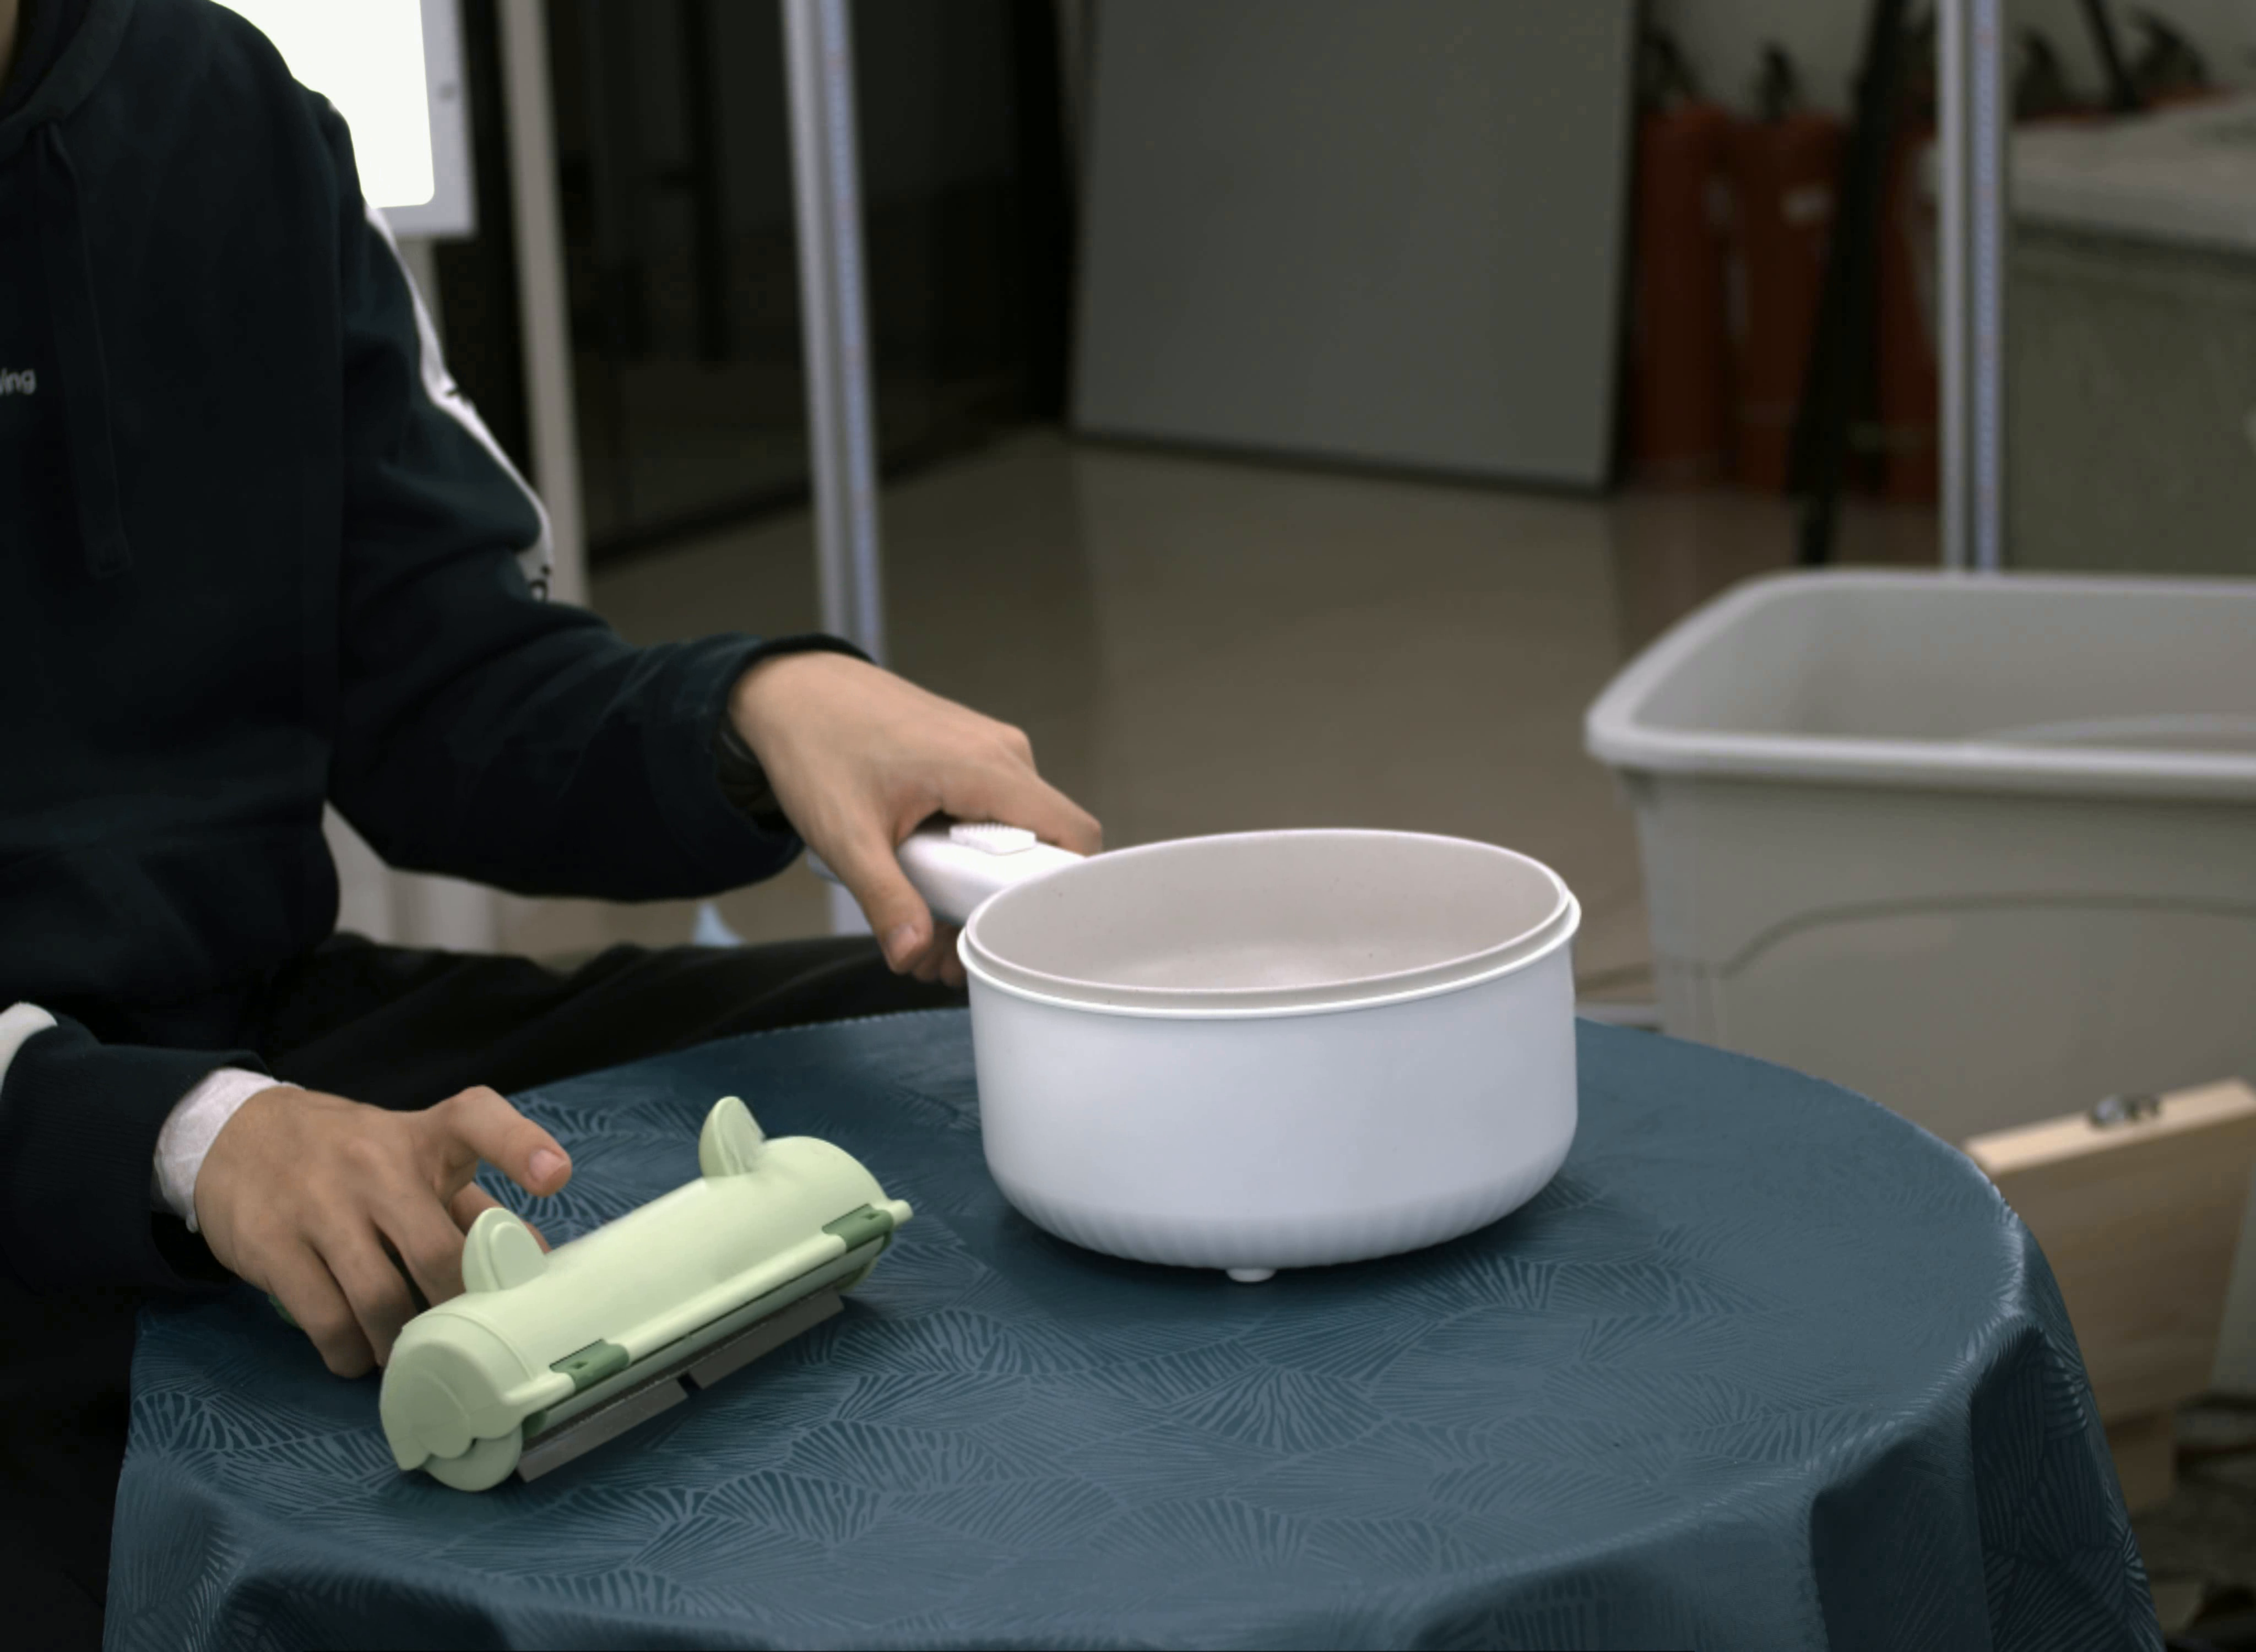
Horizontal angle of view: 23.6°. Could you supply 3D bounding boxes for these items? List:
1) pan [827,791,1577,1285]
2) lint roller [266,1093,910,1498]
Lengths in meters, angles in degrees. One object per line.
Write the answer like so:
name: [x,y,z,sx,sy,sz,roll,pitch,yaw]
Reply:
pan: [0.005,0.063,1.799,0.197,0.103,0.358,-13,16,-31]
lint roller: [-0.190,0.128,1.640,0.184,0.083,0.195,11,20,31]
